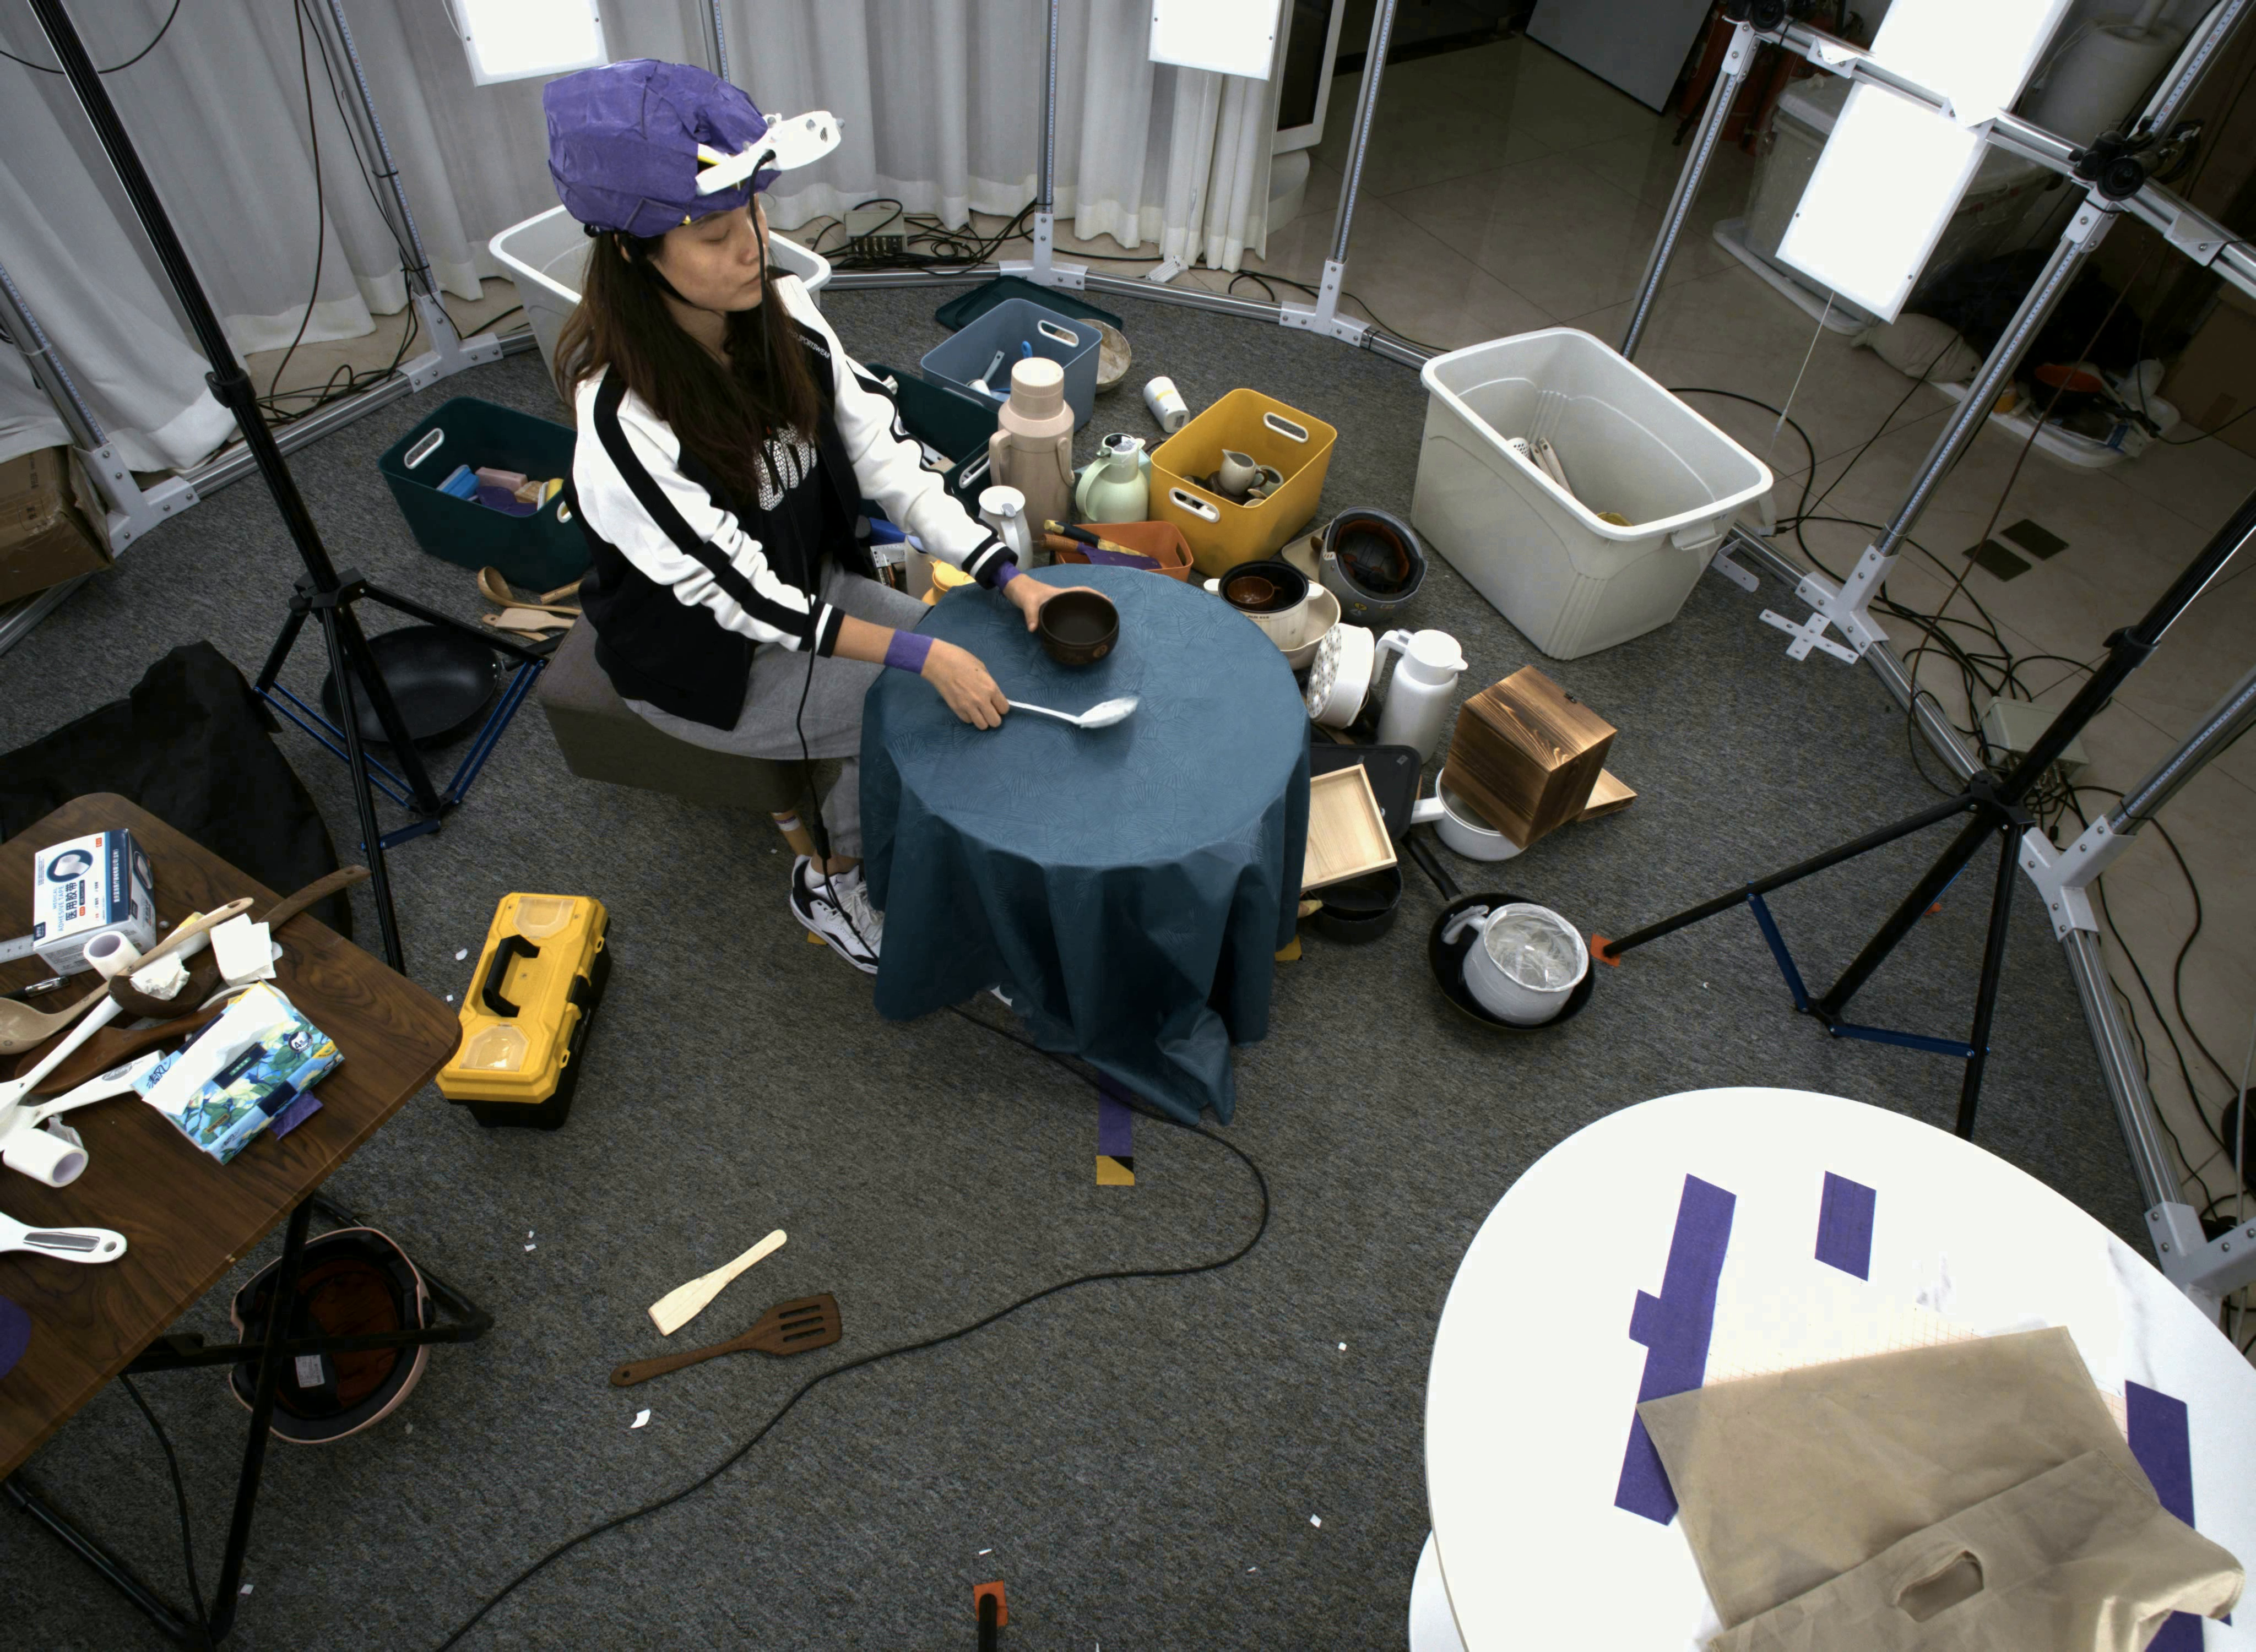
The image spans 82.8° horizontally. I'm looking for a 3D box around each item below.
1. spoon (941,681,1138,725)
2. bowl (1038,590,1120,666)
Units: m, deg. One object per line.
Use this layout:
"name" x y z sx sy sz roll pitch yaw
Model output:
"spoon" -0.124 -0.190 1.787 0.278 0.059 0.101 16 15 9
"bowl" -0.071 -0.277 1.858 0.118 0.068 0.121 2 49 -3
